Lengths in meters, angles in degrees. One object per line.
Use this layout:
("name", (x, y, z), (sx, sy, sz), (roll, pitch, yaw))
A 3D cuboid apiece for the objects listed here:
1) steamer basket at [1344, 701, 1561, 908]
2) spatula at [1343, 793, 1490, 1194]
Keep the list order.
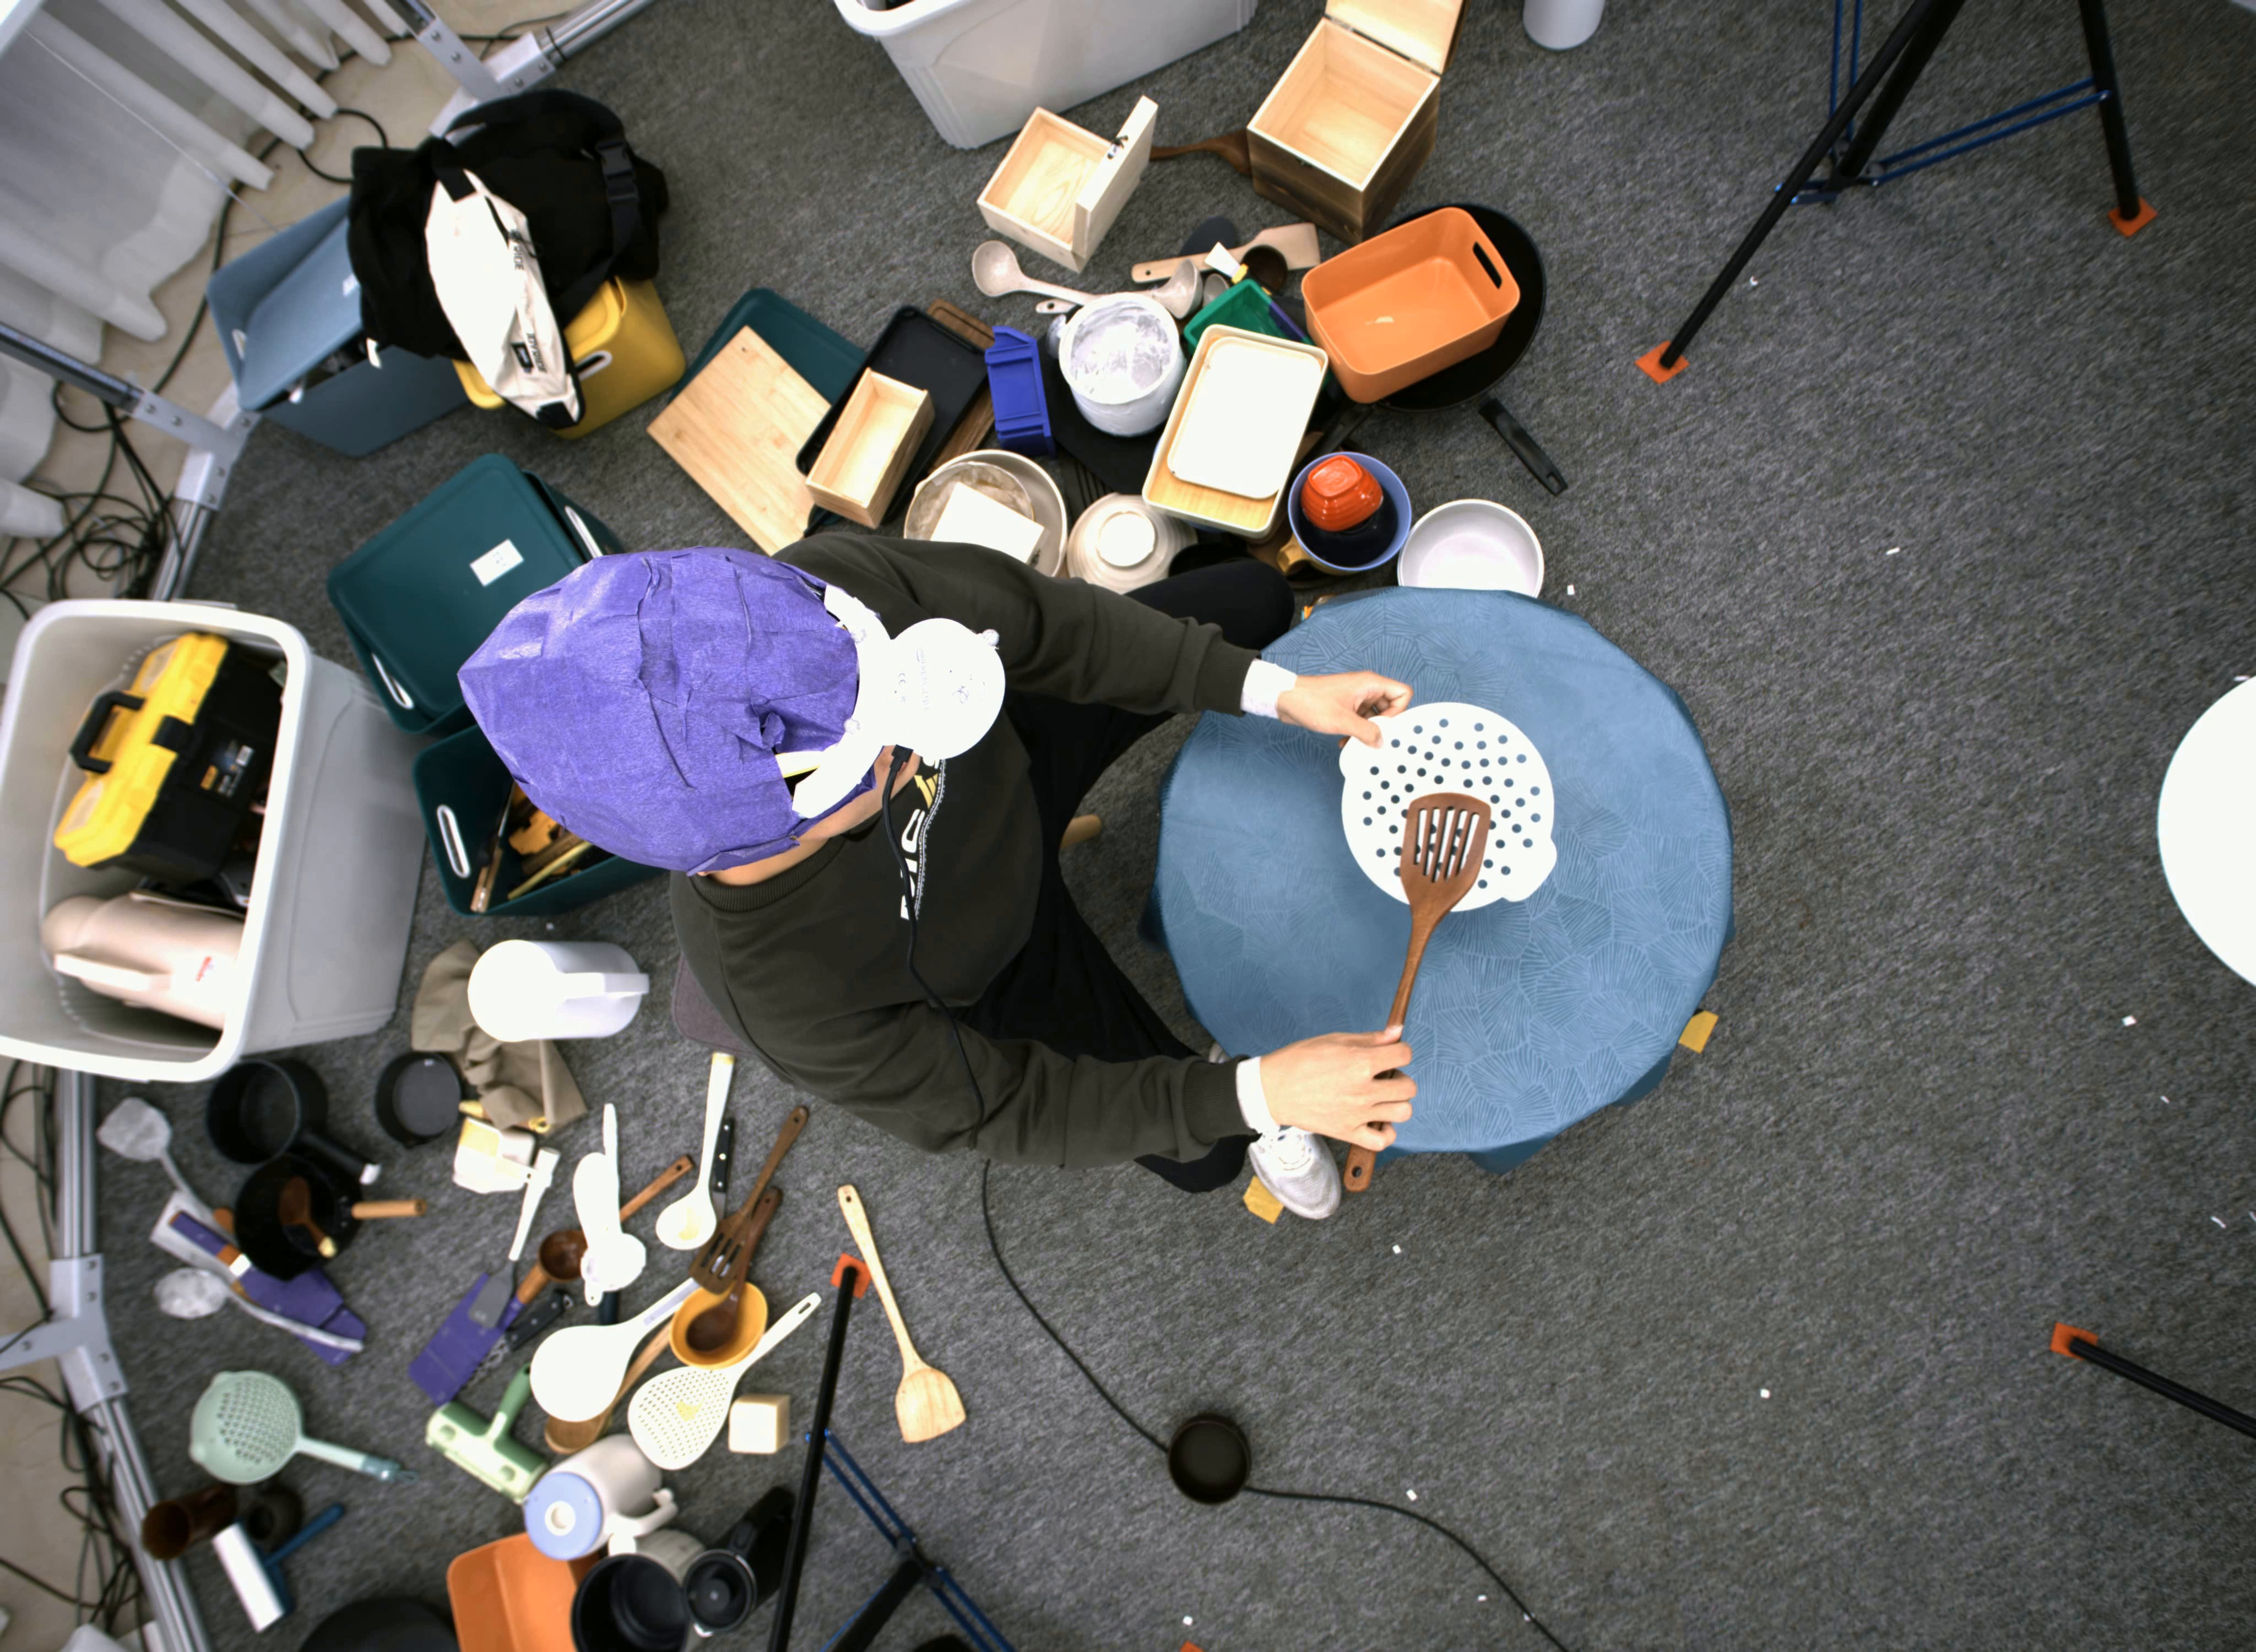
("steamer basket", (0.321, -0.022, 1.356), (0.229, 0.069, 0.204), (39, 103, 15))
("spatula", (0.253, 0.145, 1.258), (0.086, 0.024, 0.379), (8, 70, 30))
